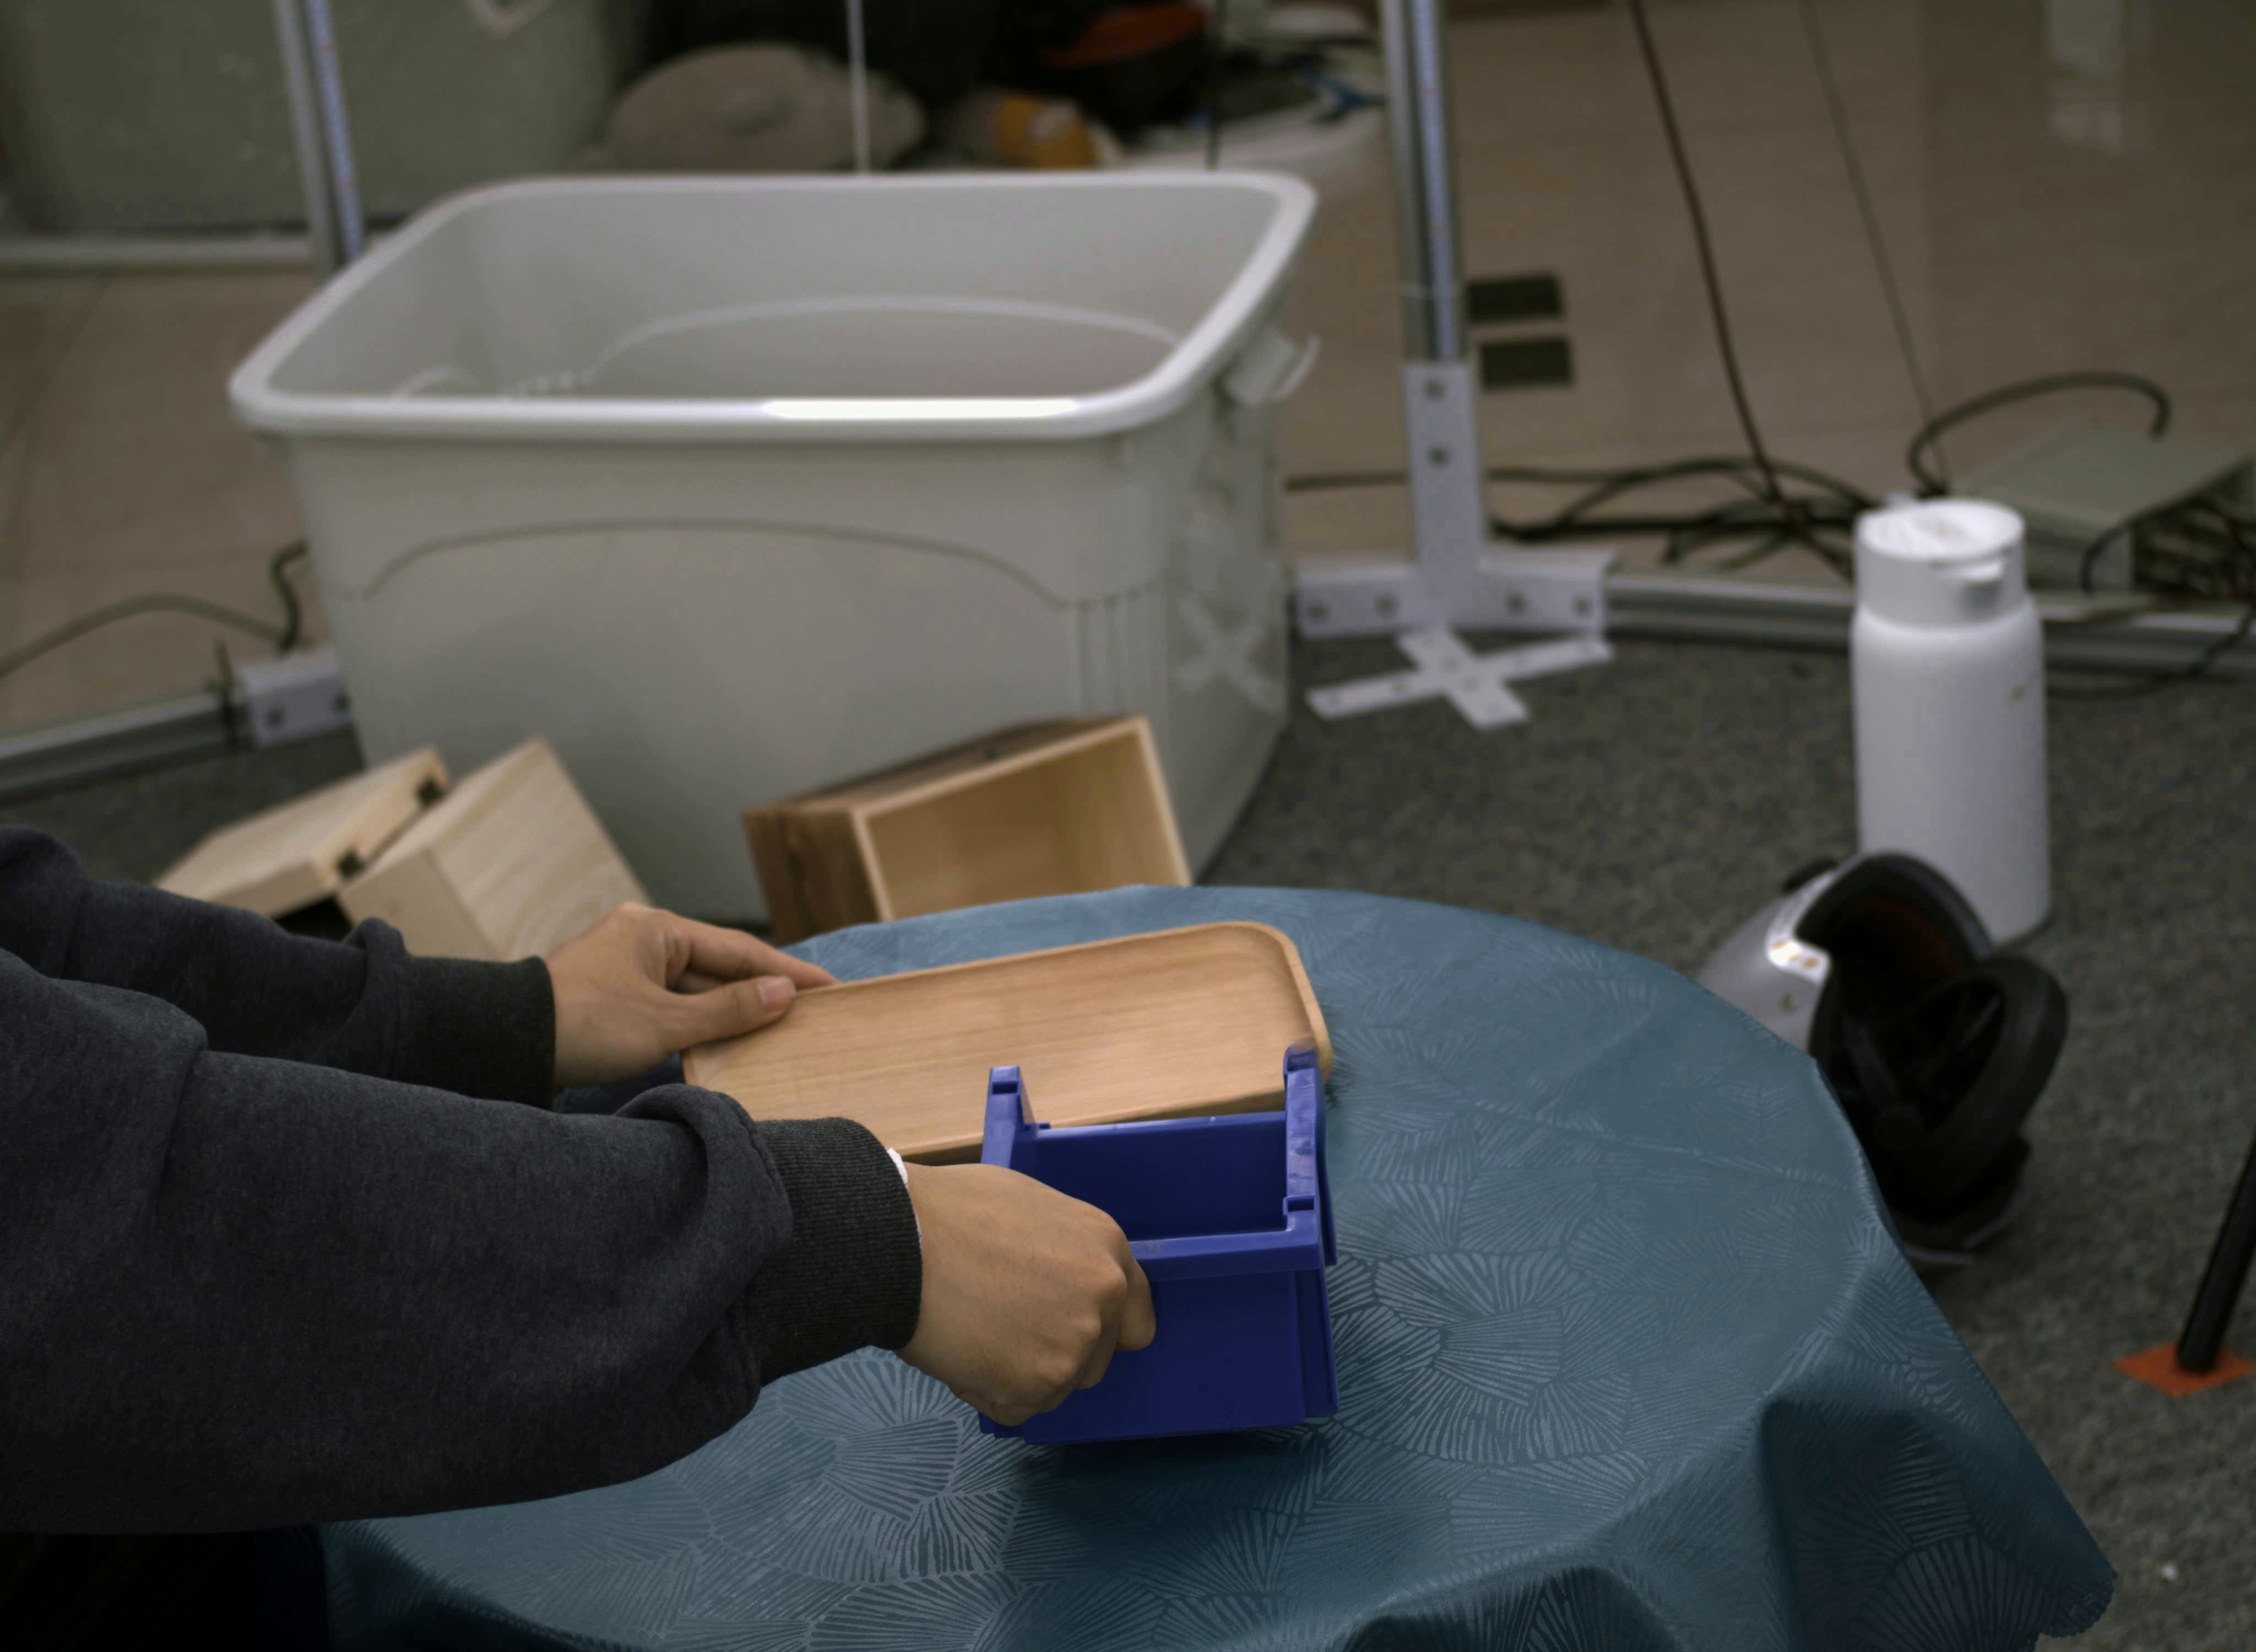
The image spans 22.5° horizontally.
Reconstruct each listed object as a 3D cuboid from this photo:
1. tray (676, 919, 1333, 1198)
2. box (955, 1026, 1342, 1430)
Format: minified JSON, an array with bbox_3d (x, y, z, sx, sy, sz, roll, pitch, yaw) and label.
[{"bbox_3d":[-0.049,0.091,2.223,0.250,0.023,0.128,-9,30,-6],"label":"tray"},{"bbox_3d":[0.009,0.138,2.017,0.124,0.083,0.176,-4,29,7],"label":"box"}]
